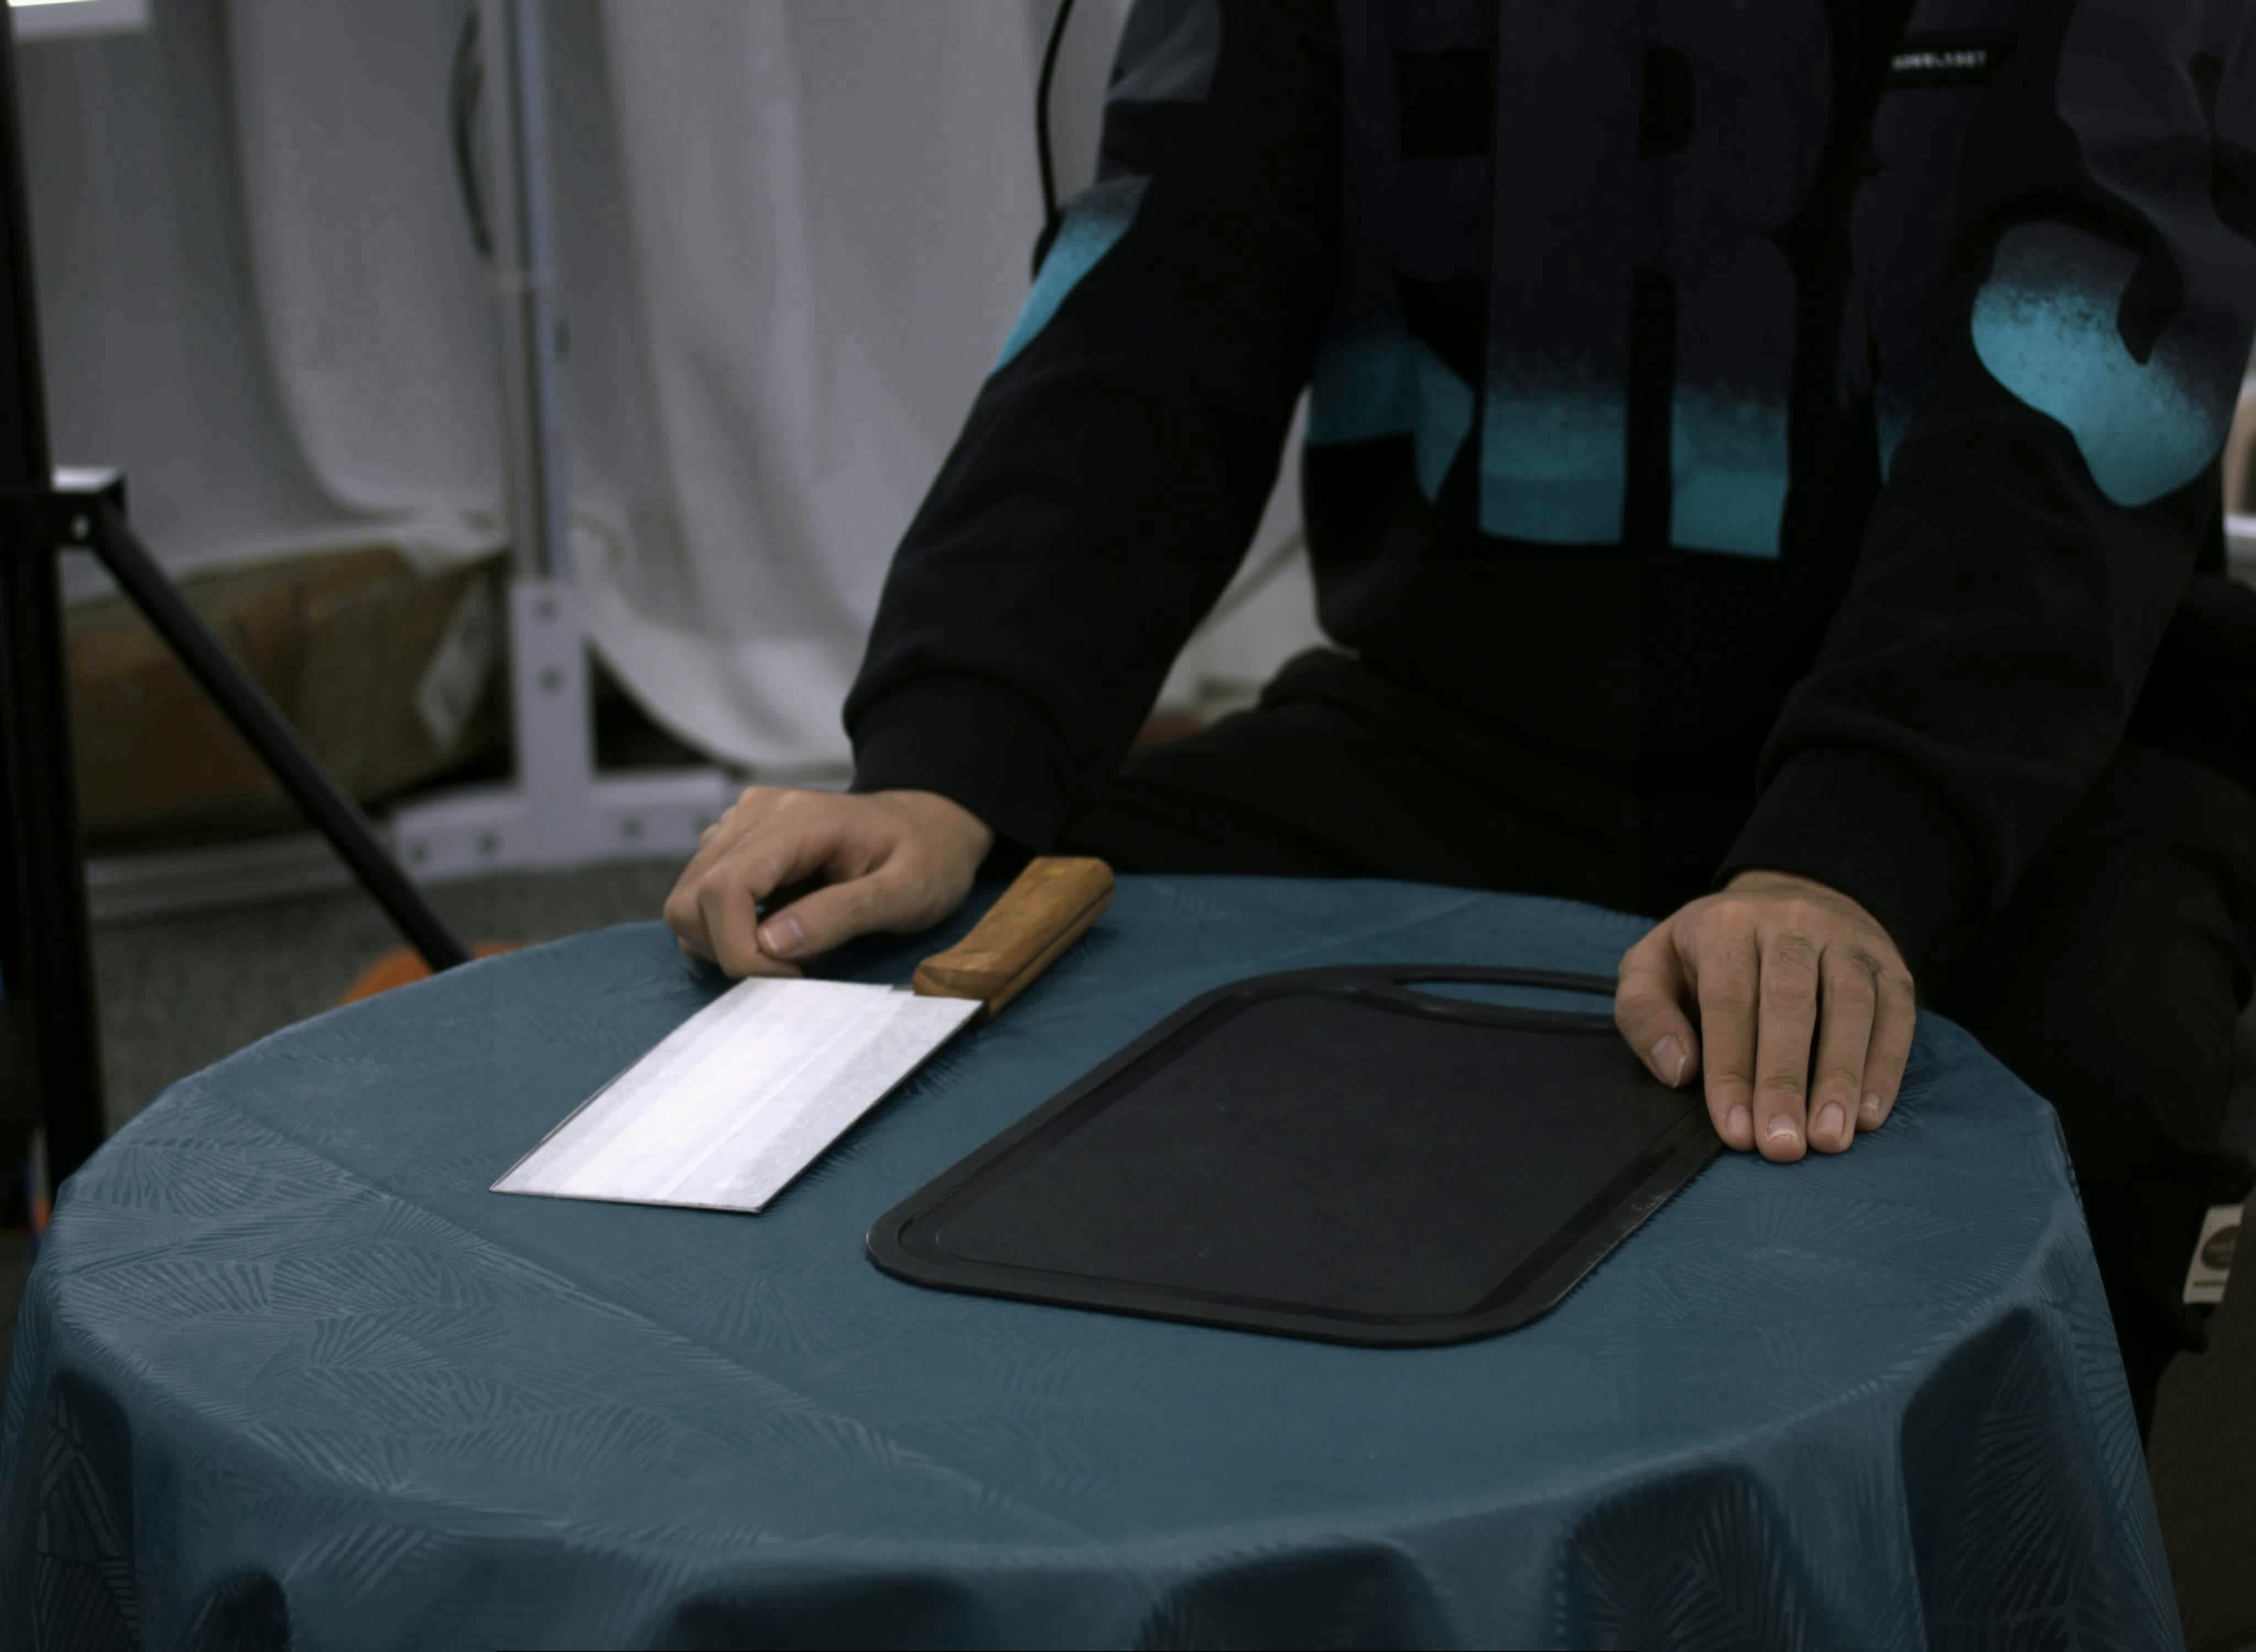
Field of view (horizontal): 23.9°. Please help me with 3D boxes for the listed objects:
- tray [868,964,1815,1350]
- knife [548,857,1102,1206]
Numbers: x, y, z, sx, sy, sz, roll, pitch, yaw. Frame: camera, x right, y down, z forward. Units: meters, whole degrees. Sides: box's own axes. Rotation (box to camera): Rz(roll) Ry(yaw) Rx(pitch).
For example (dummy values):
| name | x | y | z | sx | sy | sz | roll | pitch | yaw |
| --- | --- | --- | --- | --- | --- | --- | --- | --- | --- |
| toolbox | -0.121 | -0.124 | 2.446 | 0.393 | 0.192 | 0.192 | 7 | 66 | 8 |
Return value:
| name | x | y | z | sx | sy | sz | roll | pitch | yaw |
| --- | --- | --- | --- | --- | --- | --- | --- | --- | --- |
| tray | 0.073 | 0.090 | 1.595 | 0.214 | 0.010 | 0.320 | 5 | 18 | 27 |
| knife | -0.095 | 0.064 | 1.702 | 0.094 | 0.021 | 0.302 | 2 | 19 | 21 |
